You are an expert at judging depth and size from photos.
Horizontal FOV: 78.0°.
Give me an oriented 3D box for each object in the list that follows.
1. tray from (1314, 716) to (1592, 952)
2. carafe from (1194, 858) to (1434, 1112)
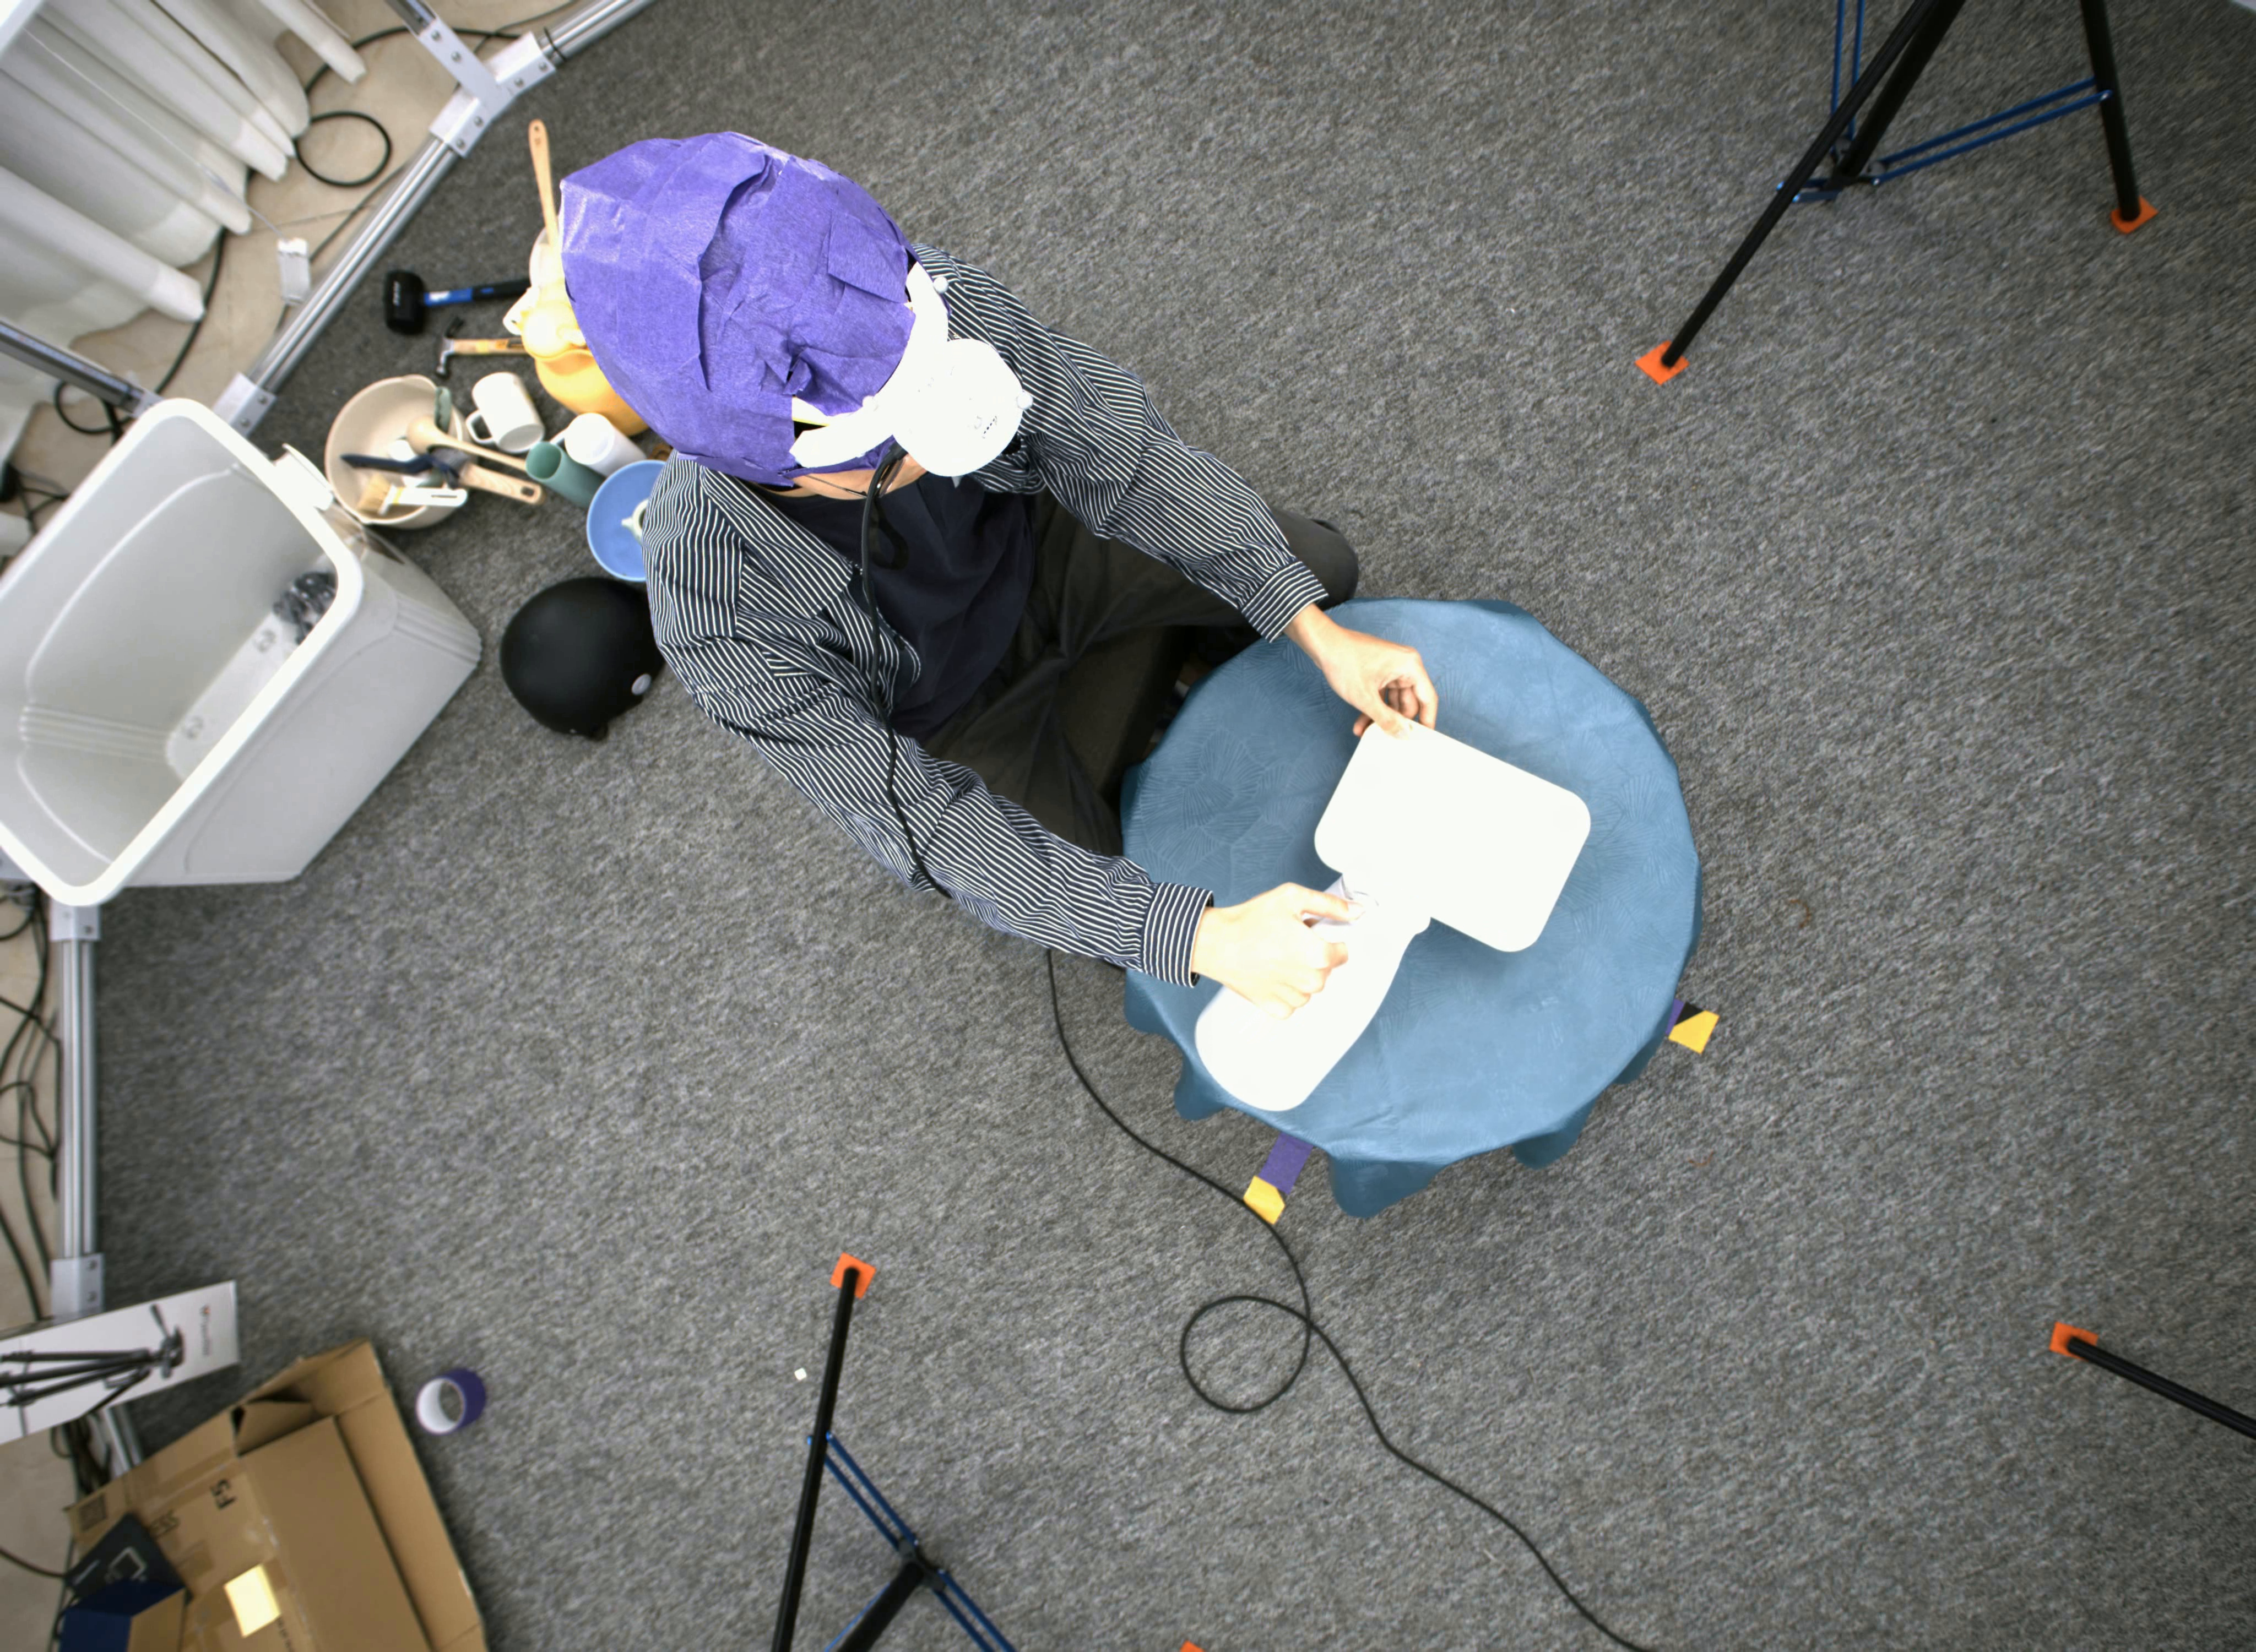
[{"bbox_3d":[0.317,0.005,1.350,0.239,0.017,0.171,26,89,11],"label":"tray"},{"bbox_3d":[0.168,0.146,1.272,0.131,0.165,0.255,47,129,17],"label":"carafe"}]
